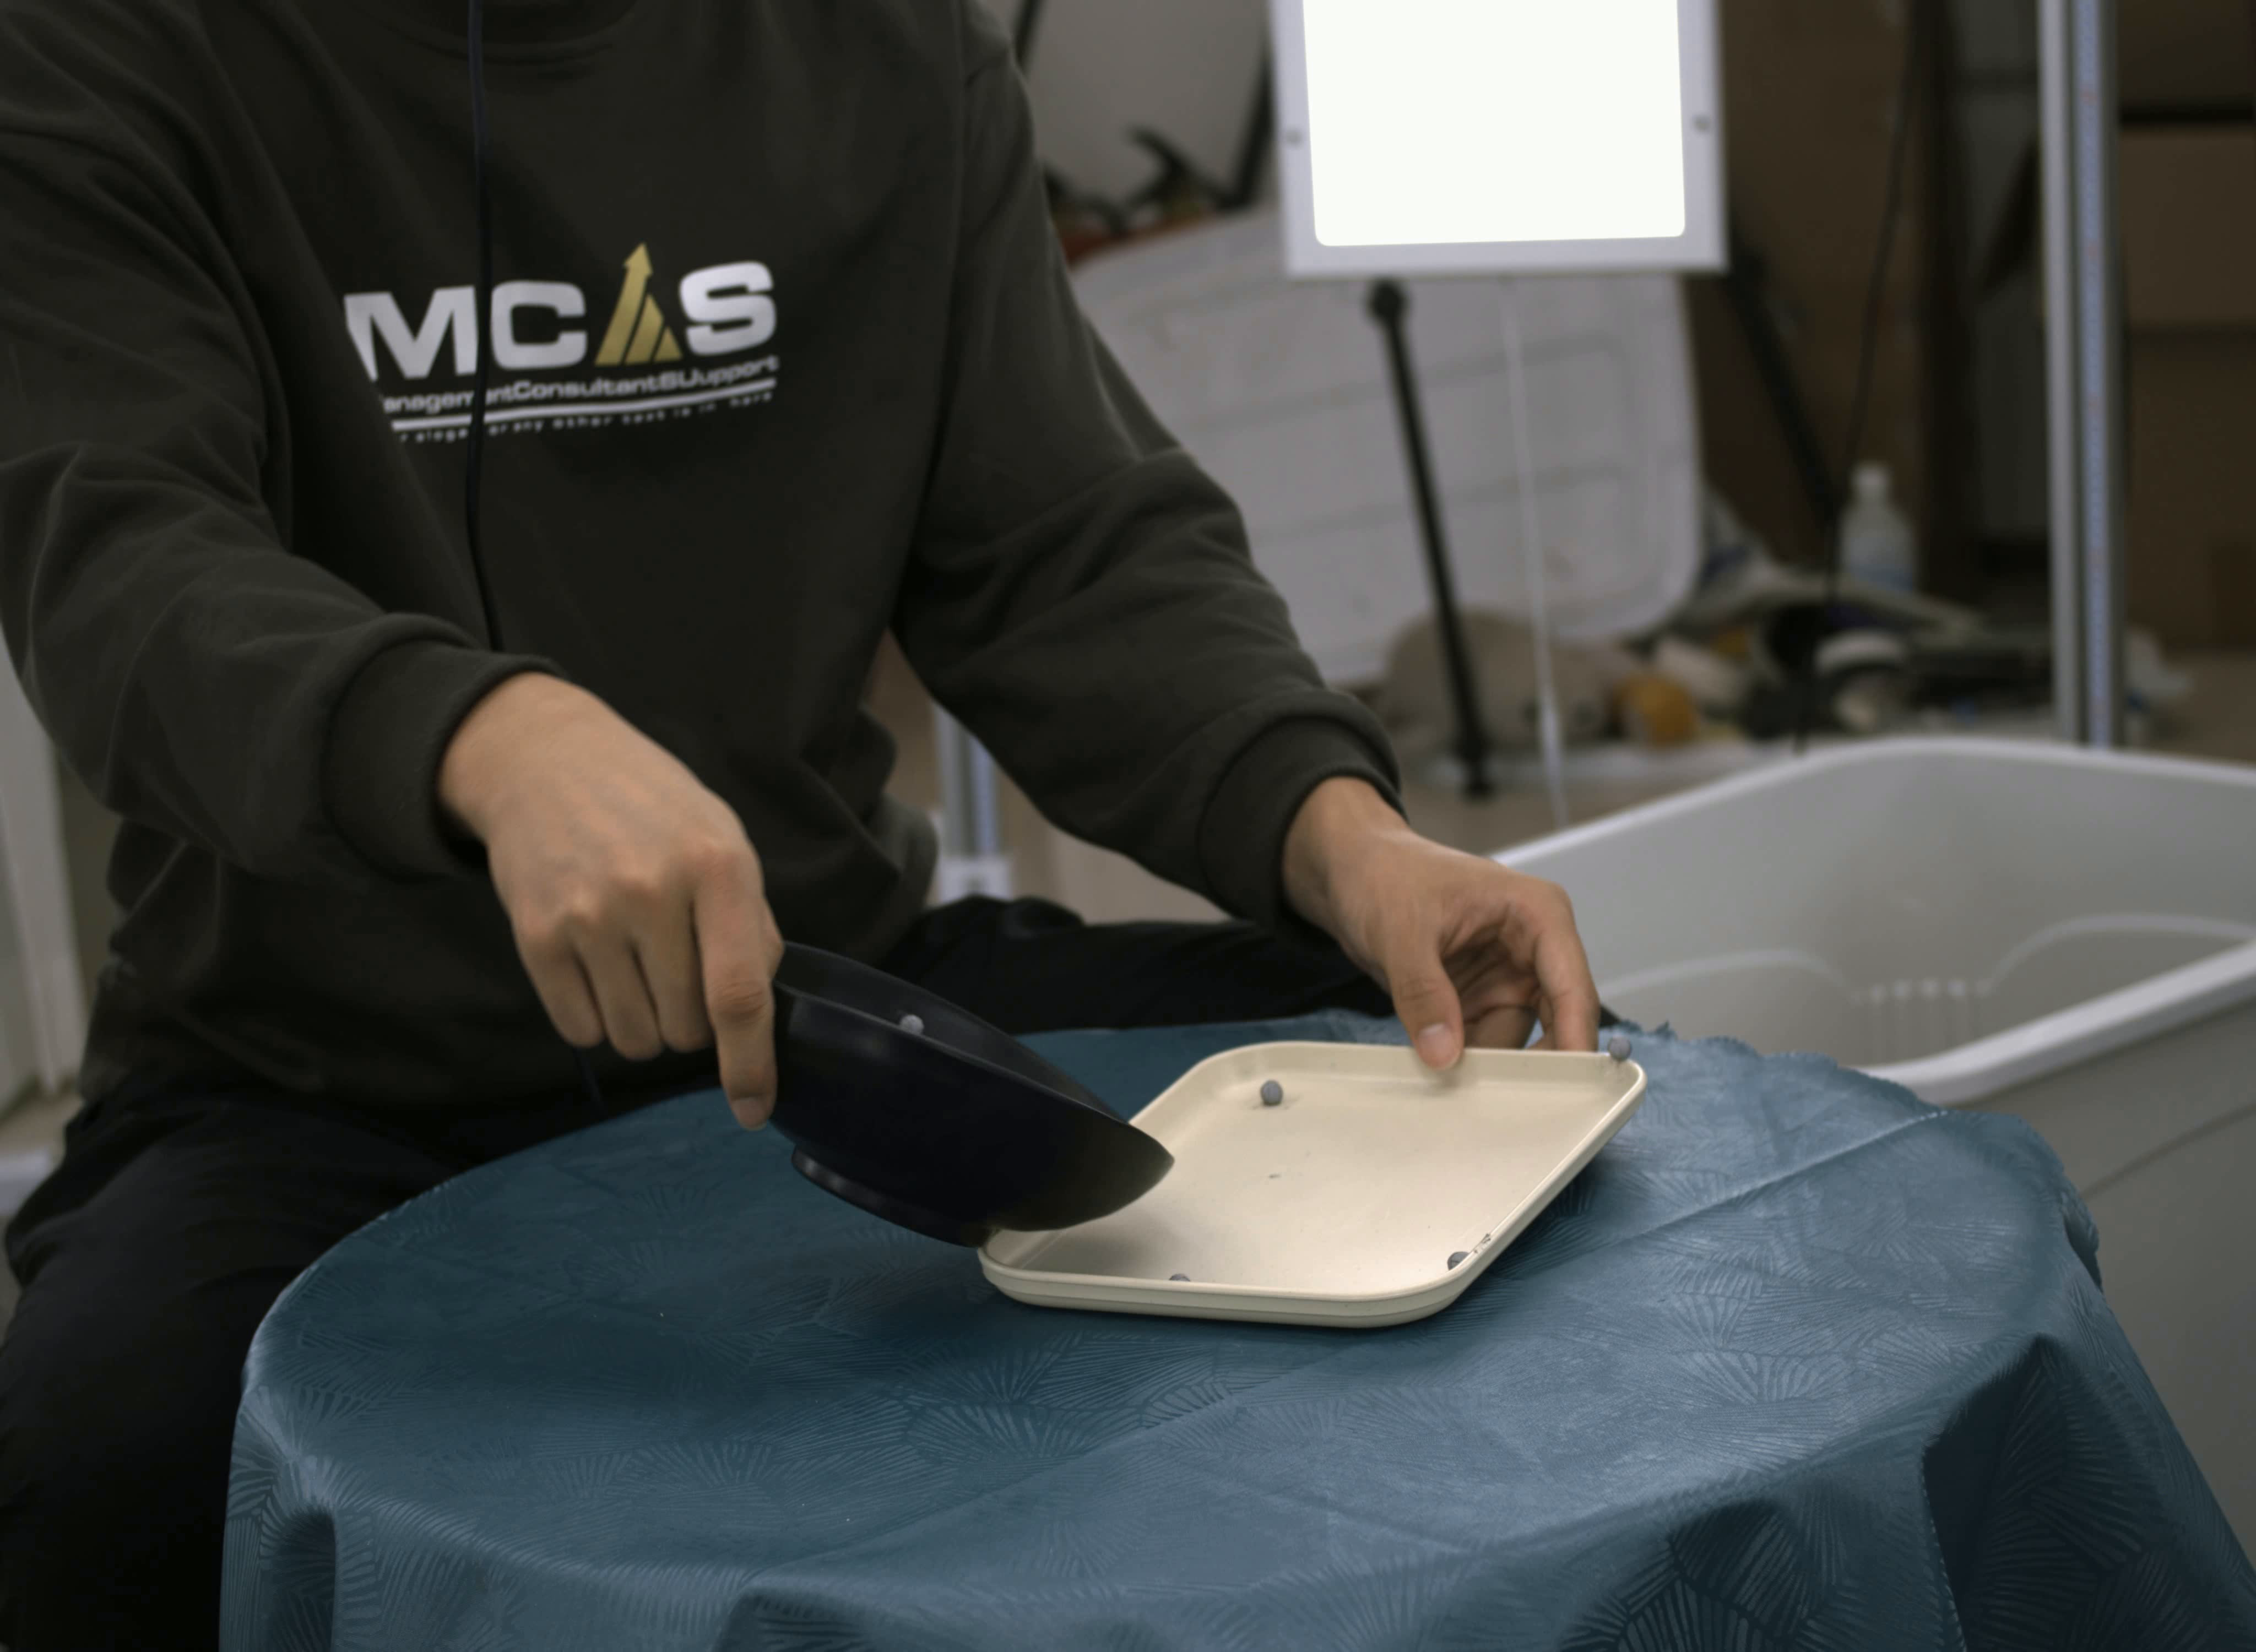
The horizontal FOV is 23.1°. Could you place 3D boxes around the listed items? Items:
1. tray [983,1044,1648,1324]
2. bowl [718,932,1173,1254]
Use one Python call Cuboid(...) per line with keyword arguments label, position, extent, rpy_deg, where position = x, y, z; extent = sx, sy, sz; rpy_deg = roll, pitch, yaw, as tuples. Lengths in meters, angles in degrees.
Cuboid(label="tray", position=(0.067, 0.119, 1.850), extent=(0.174, 0.017, 0.235), rpy_deg=(0, 17, 26))
Cuboid(label="bowl", position=(-0.068, 0.095, 1.796), extent=(0.167, 0.067, 0.139), rpy_deg=(26, 3, -23))
